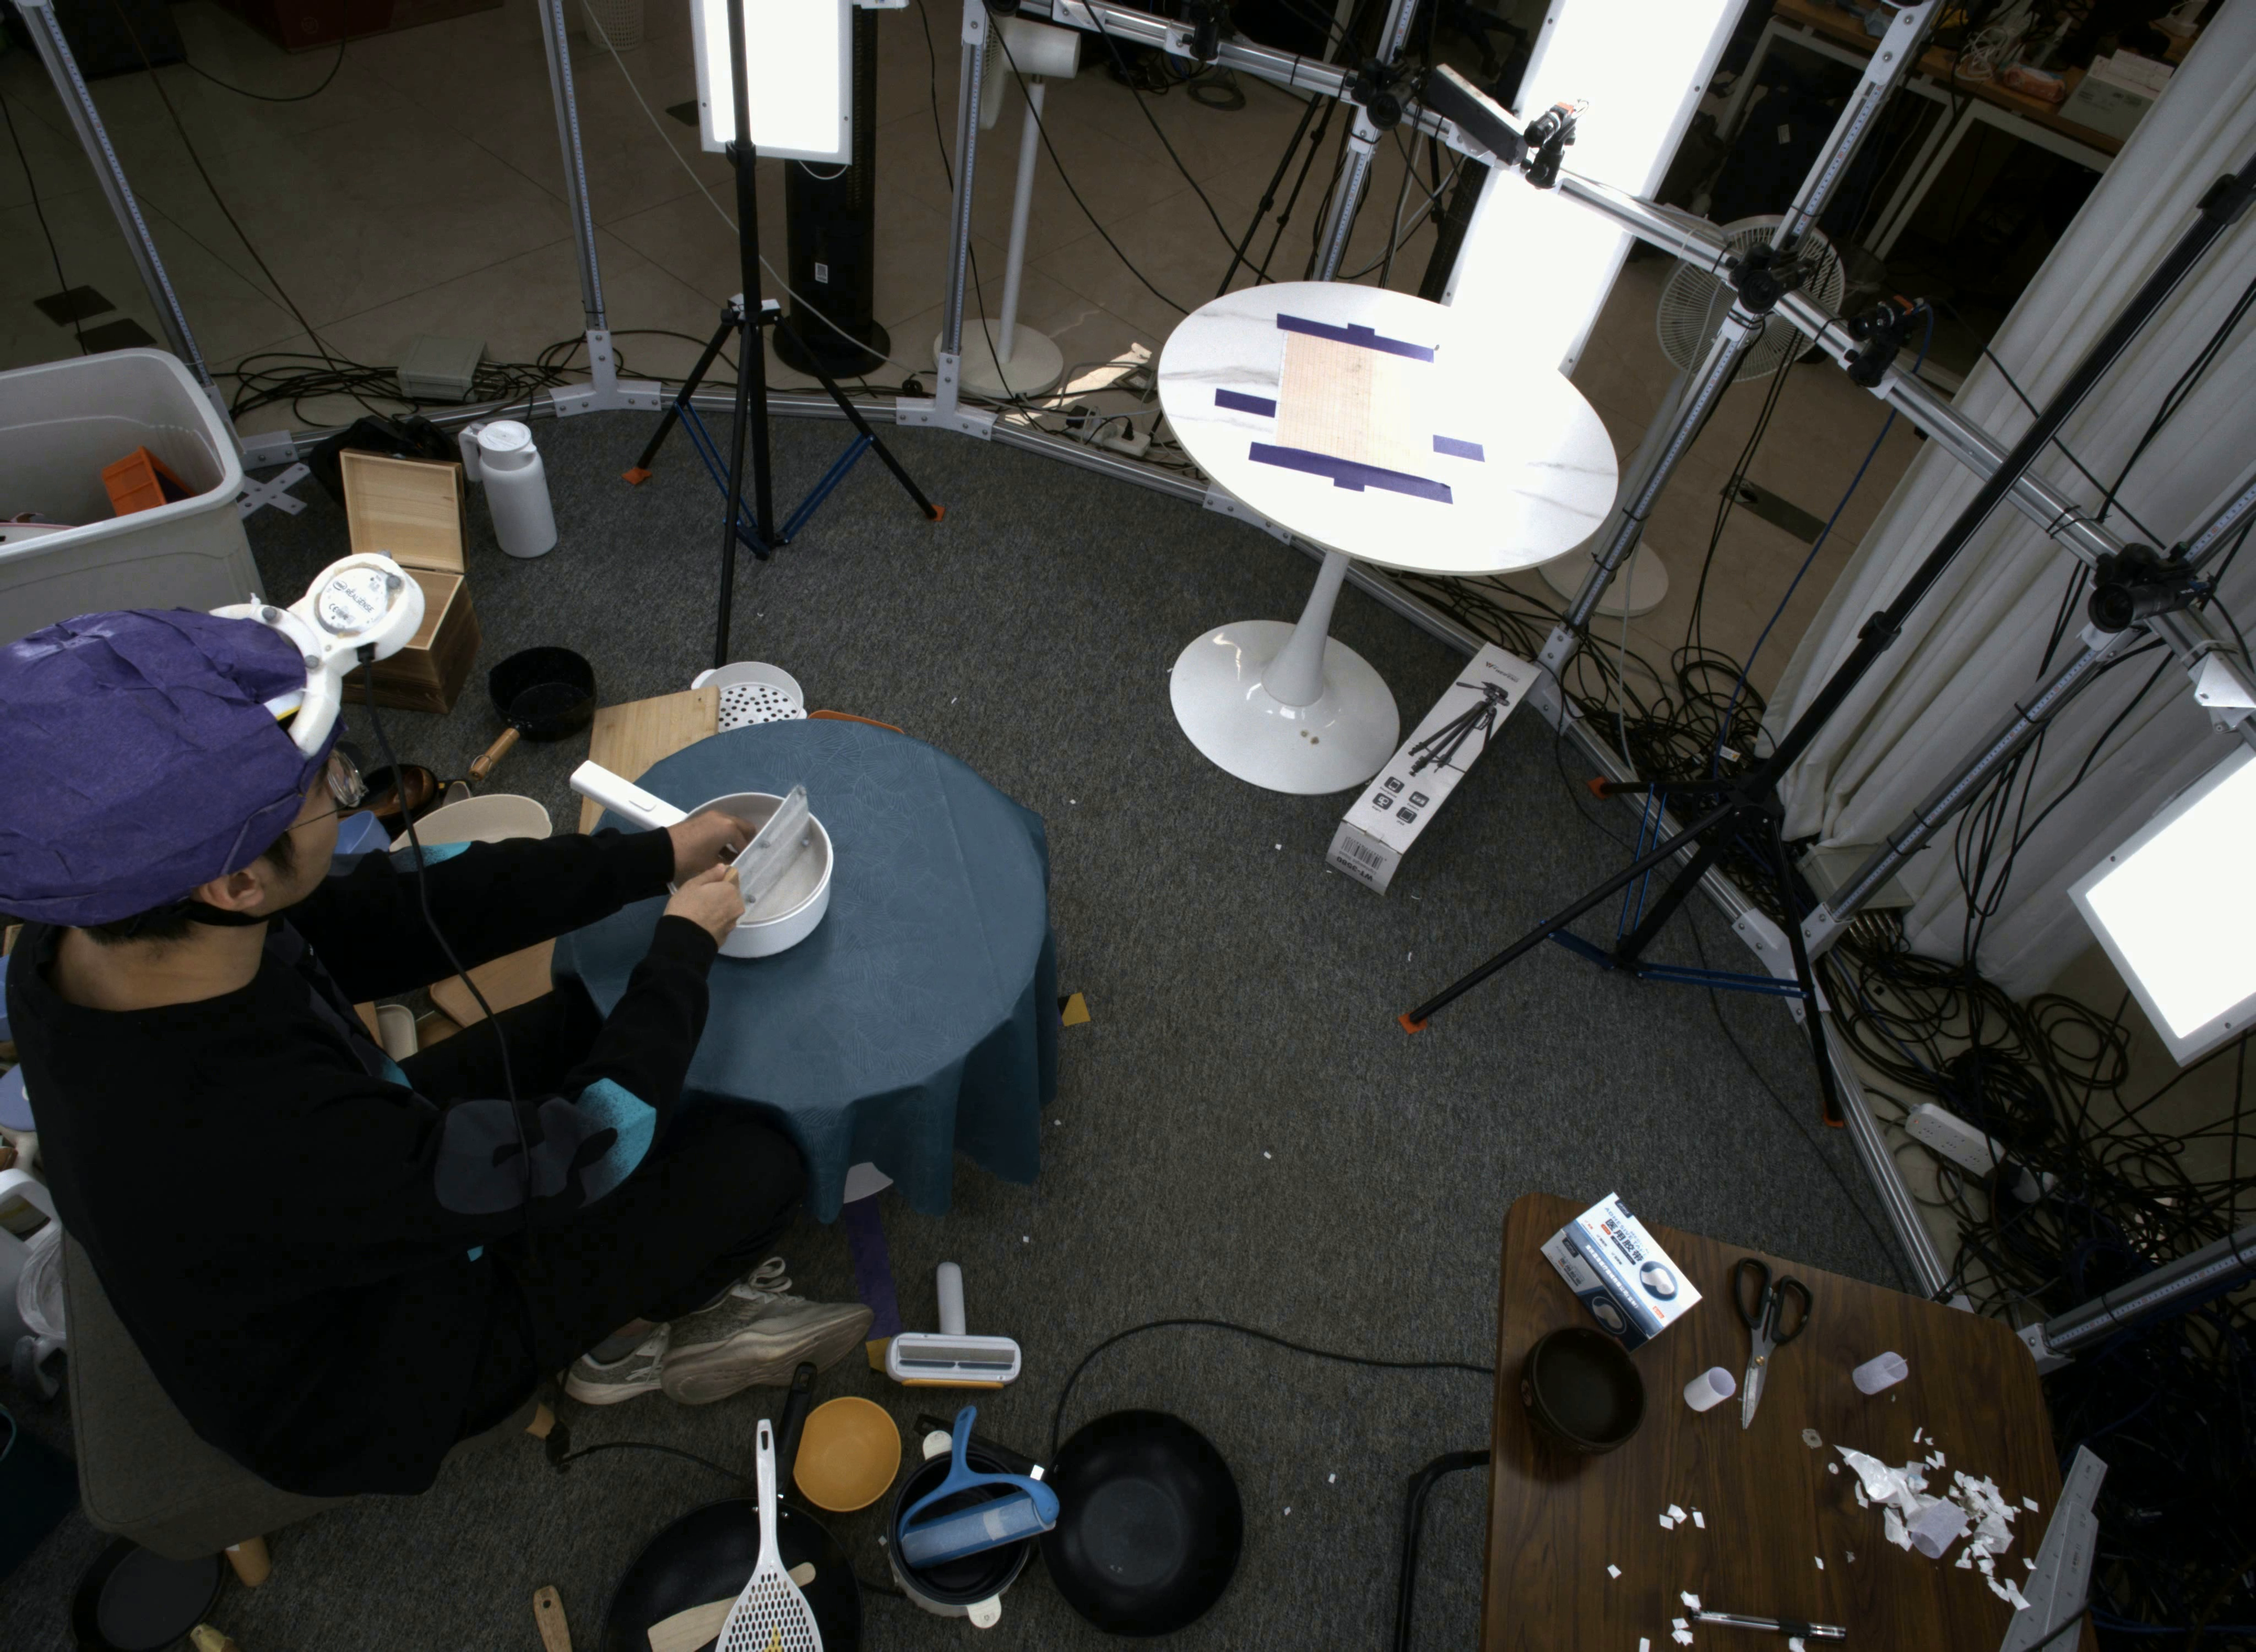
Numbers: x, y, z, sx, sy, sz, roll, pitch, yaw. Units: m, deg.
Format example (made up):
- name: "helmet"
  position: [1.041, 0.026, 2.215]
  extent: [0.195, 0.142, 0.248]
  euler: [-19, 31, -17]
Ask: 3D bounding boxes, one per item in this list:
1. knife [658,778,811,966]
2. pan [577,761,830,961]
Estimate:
- name: "knife"
  position: [-0.441, 0.052, 1.475]
  extent: [0.021, 0.117, 0.312]
  euler: [13, 33, 11]
- name: "pan"
  position: [-0.535, 0.032, 1.598]
  extent: [0.350, 0.104, 0.200]
  euler: [26, 53, 6]
